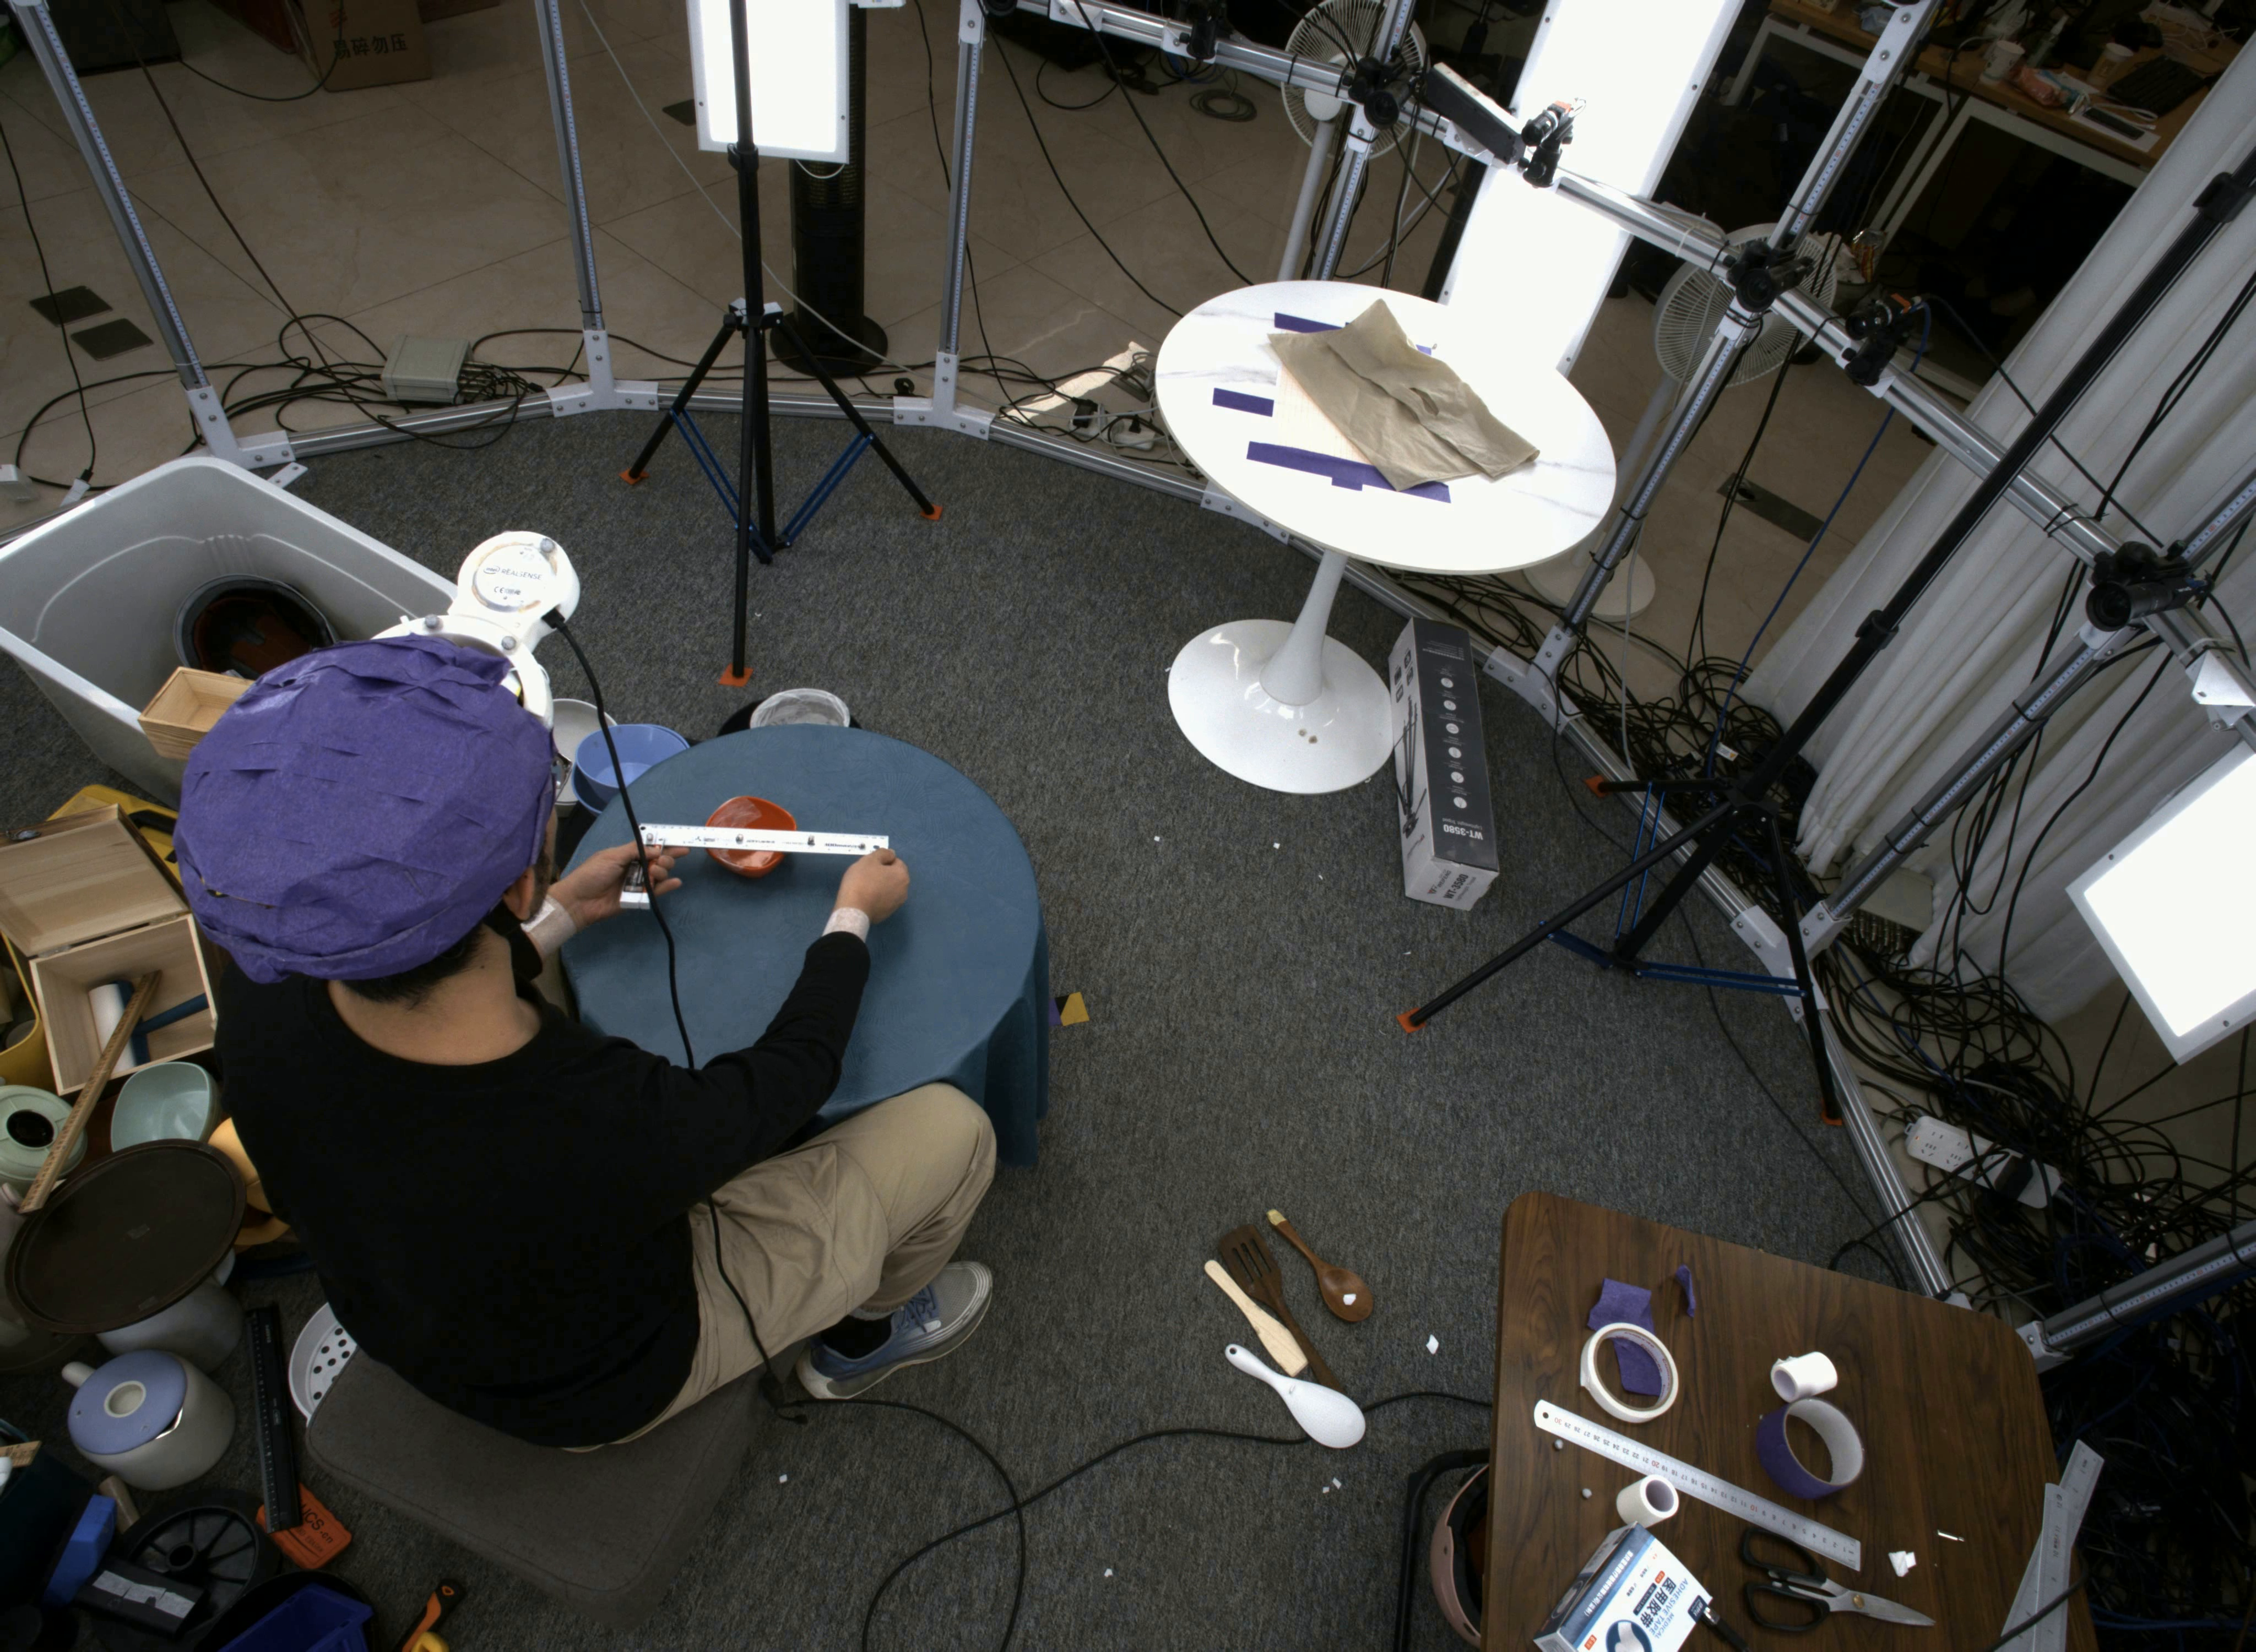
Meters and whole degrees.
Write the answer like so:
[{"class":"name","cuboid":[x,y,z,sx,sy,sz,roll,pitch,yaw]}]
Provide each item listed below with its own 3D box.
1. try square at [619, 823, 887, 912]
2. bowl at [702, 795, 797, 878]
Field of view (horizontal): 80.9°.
[{"class":"try square","cuboid":[-0.455,0.050,1.588,0.313,0.016,0.148,3,41,-13]},{"class":"bowl","cuboid":[-0.483,0.020,1.653,0.119,0.052,0.116,10,49,-10]}]
